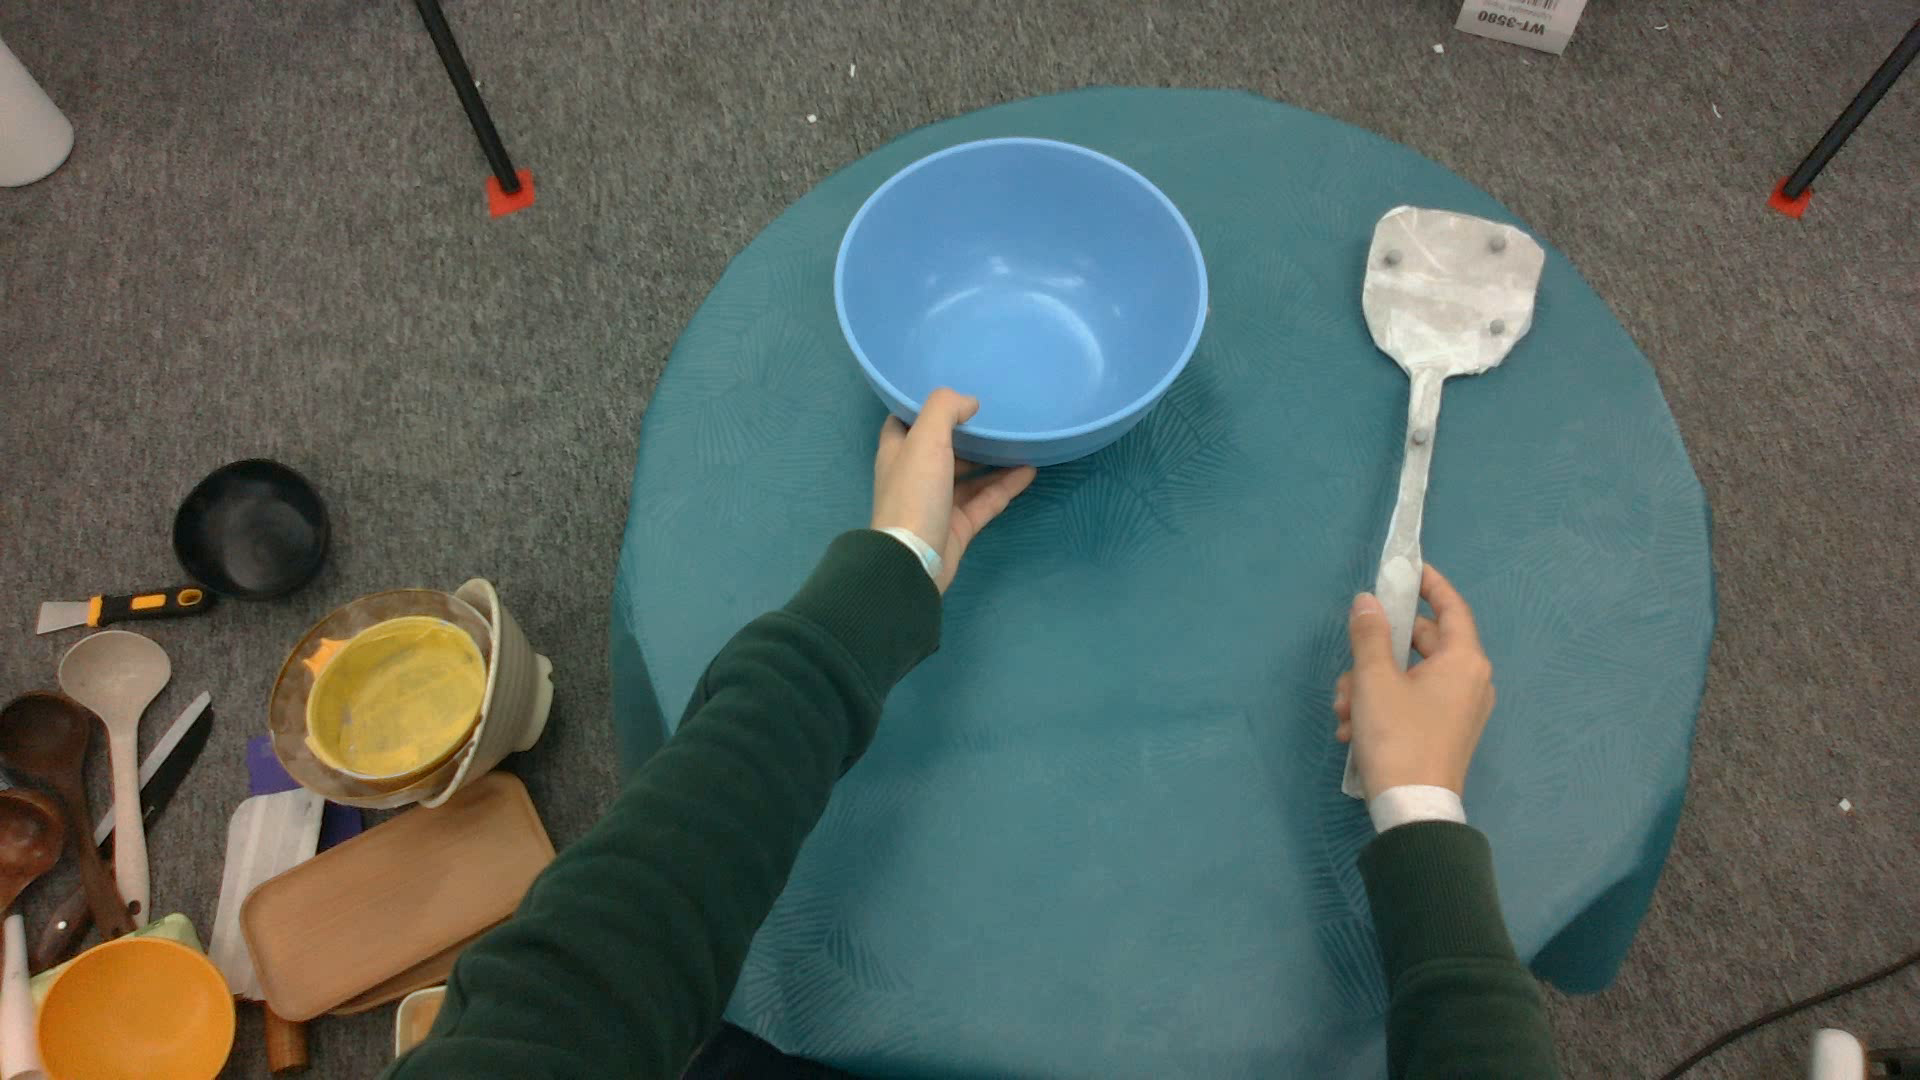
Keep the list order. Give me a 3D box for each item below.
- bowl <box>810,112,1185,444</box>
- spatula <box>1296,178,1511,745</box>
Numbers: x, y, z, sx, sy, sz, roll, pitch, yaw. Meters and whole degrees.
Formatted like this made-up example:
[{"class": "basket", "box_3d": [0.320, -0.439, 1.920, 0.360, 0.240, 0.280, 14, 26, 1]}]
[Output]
[{"class": "bowl", "box_3d": [0.018, -0.129, 0.761, 0.196, 0.095, 0.197, 1, 64, -2]}, {"class": "spatula", "box_3d": [0.230, -0.054, 0.747, 0.098, 0.044, 0.366, 16, 59, 7]}]
